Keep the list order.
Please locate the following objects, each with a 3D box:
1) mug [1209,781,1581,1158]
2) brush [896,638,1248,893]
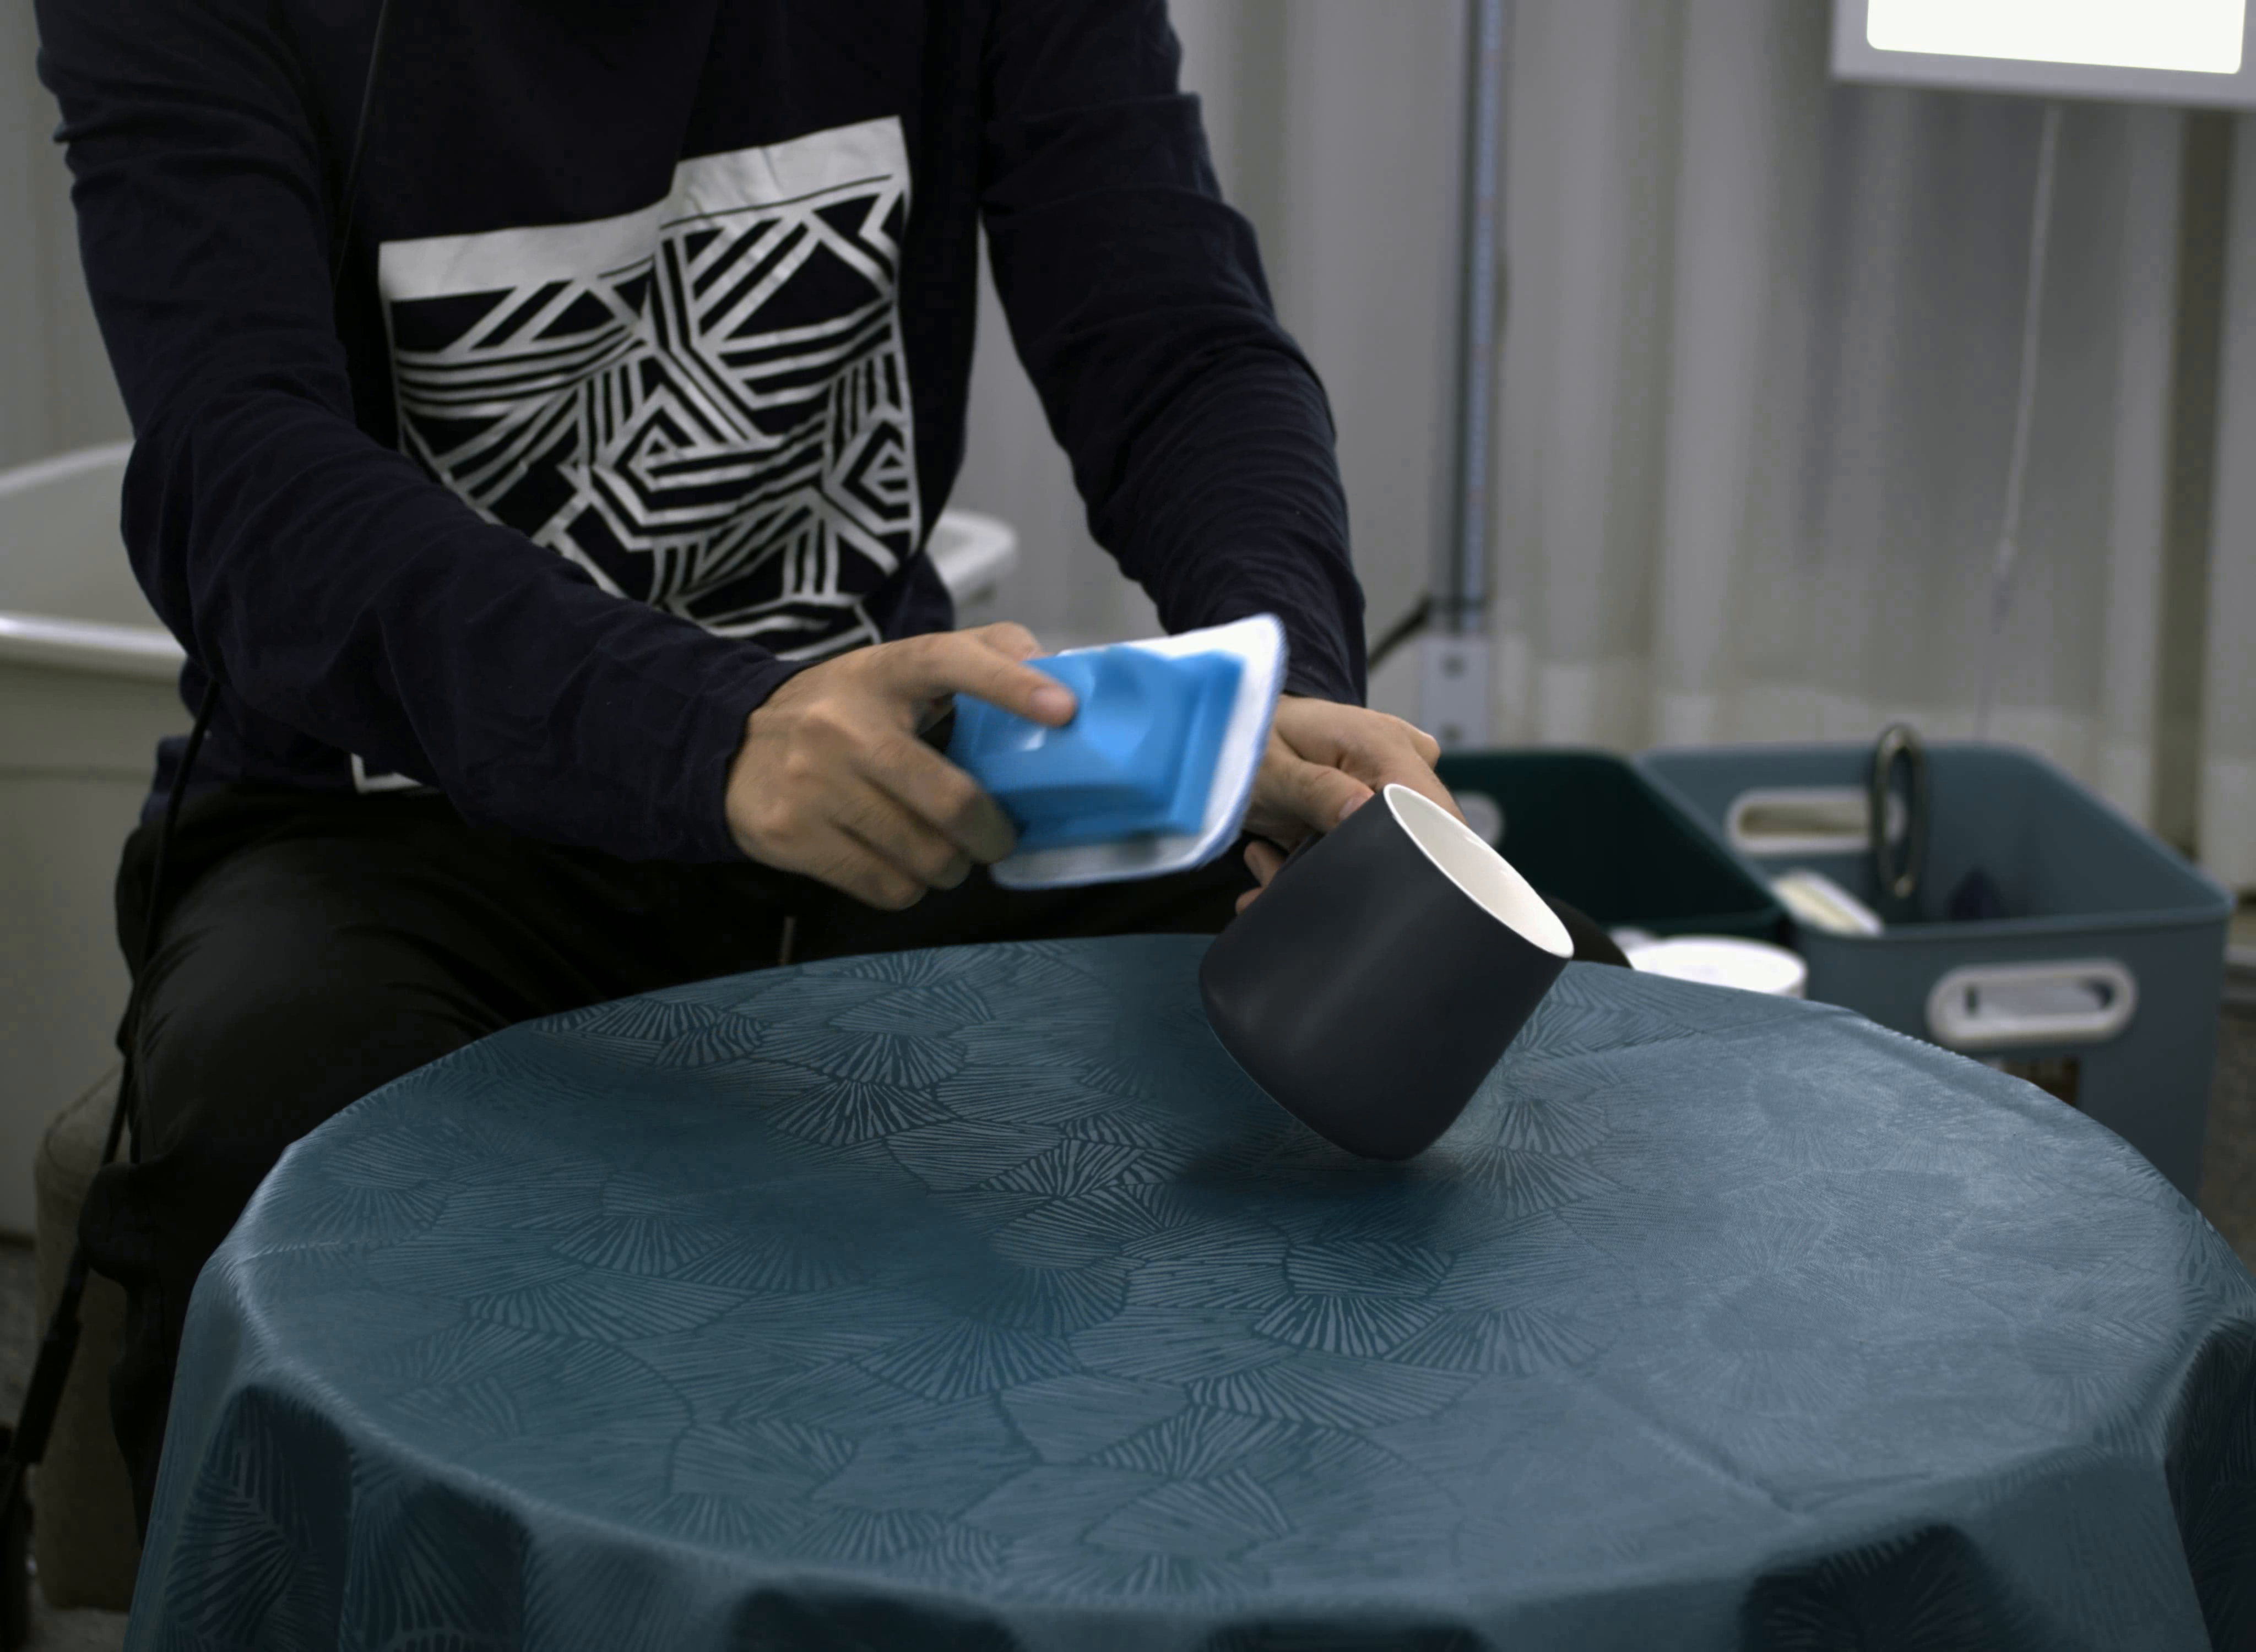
[{"bbox_3d":[0.079,0.038,1.650,0.094,0.090,0.122,34,17,-30],"label":"mug"},{"bbox_3d":[-0.024,-0.024,1.600,0.056,0.084,0.142,27,-14,-30],"label":"brush"}]
